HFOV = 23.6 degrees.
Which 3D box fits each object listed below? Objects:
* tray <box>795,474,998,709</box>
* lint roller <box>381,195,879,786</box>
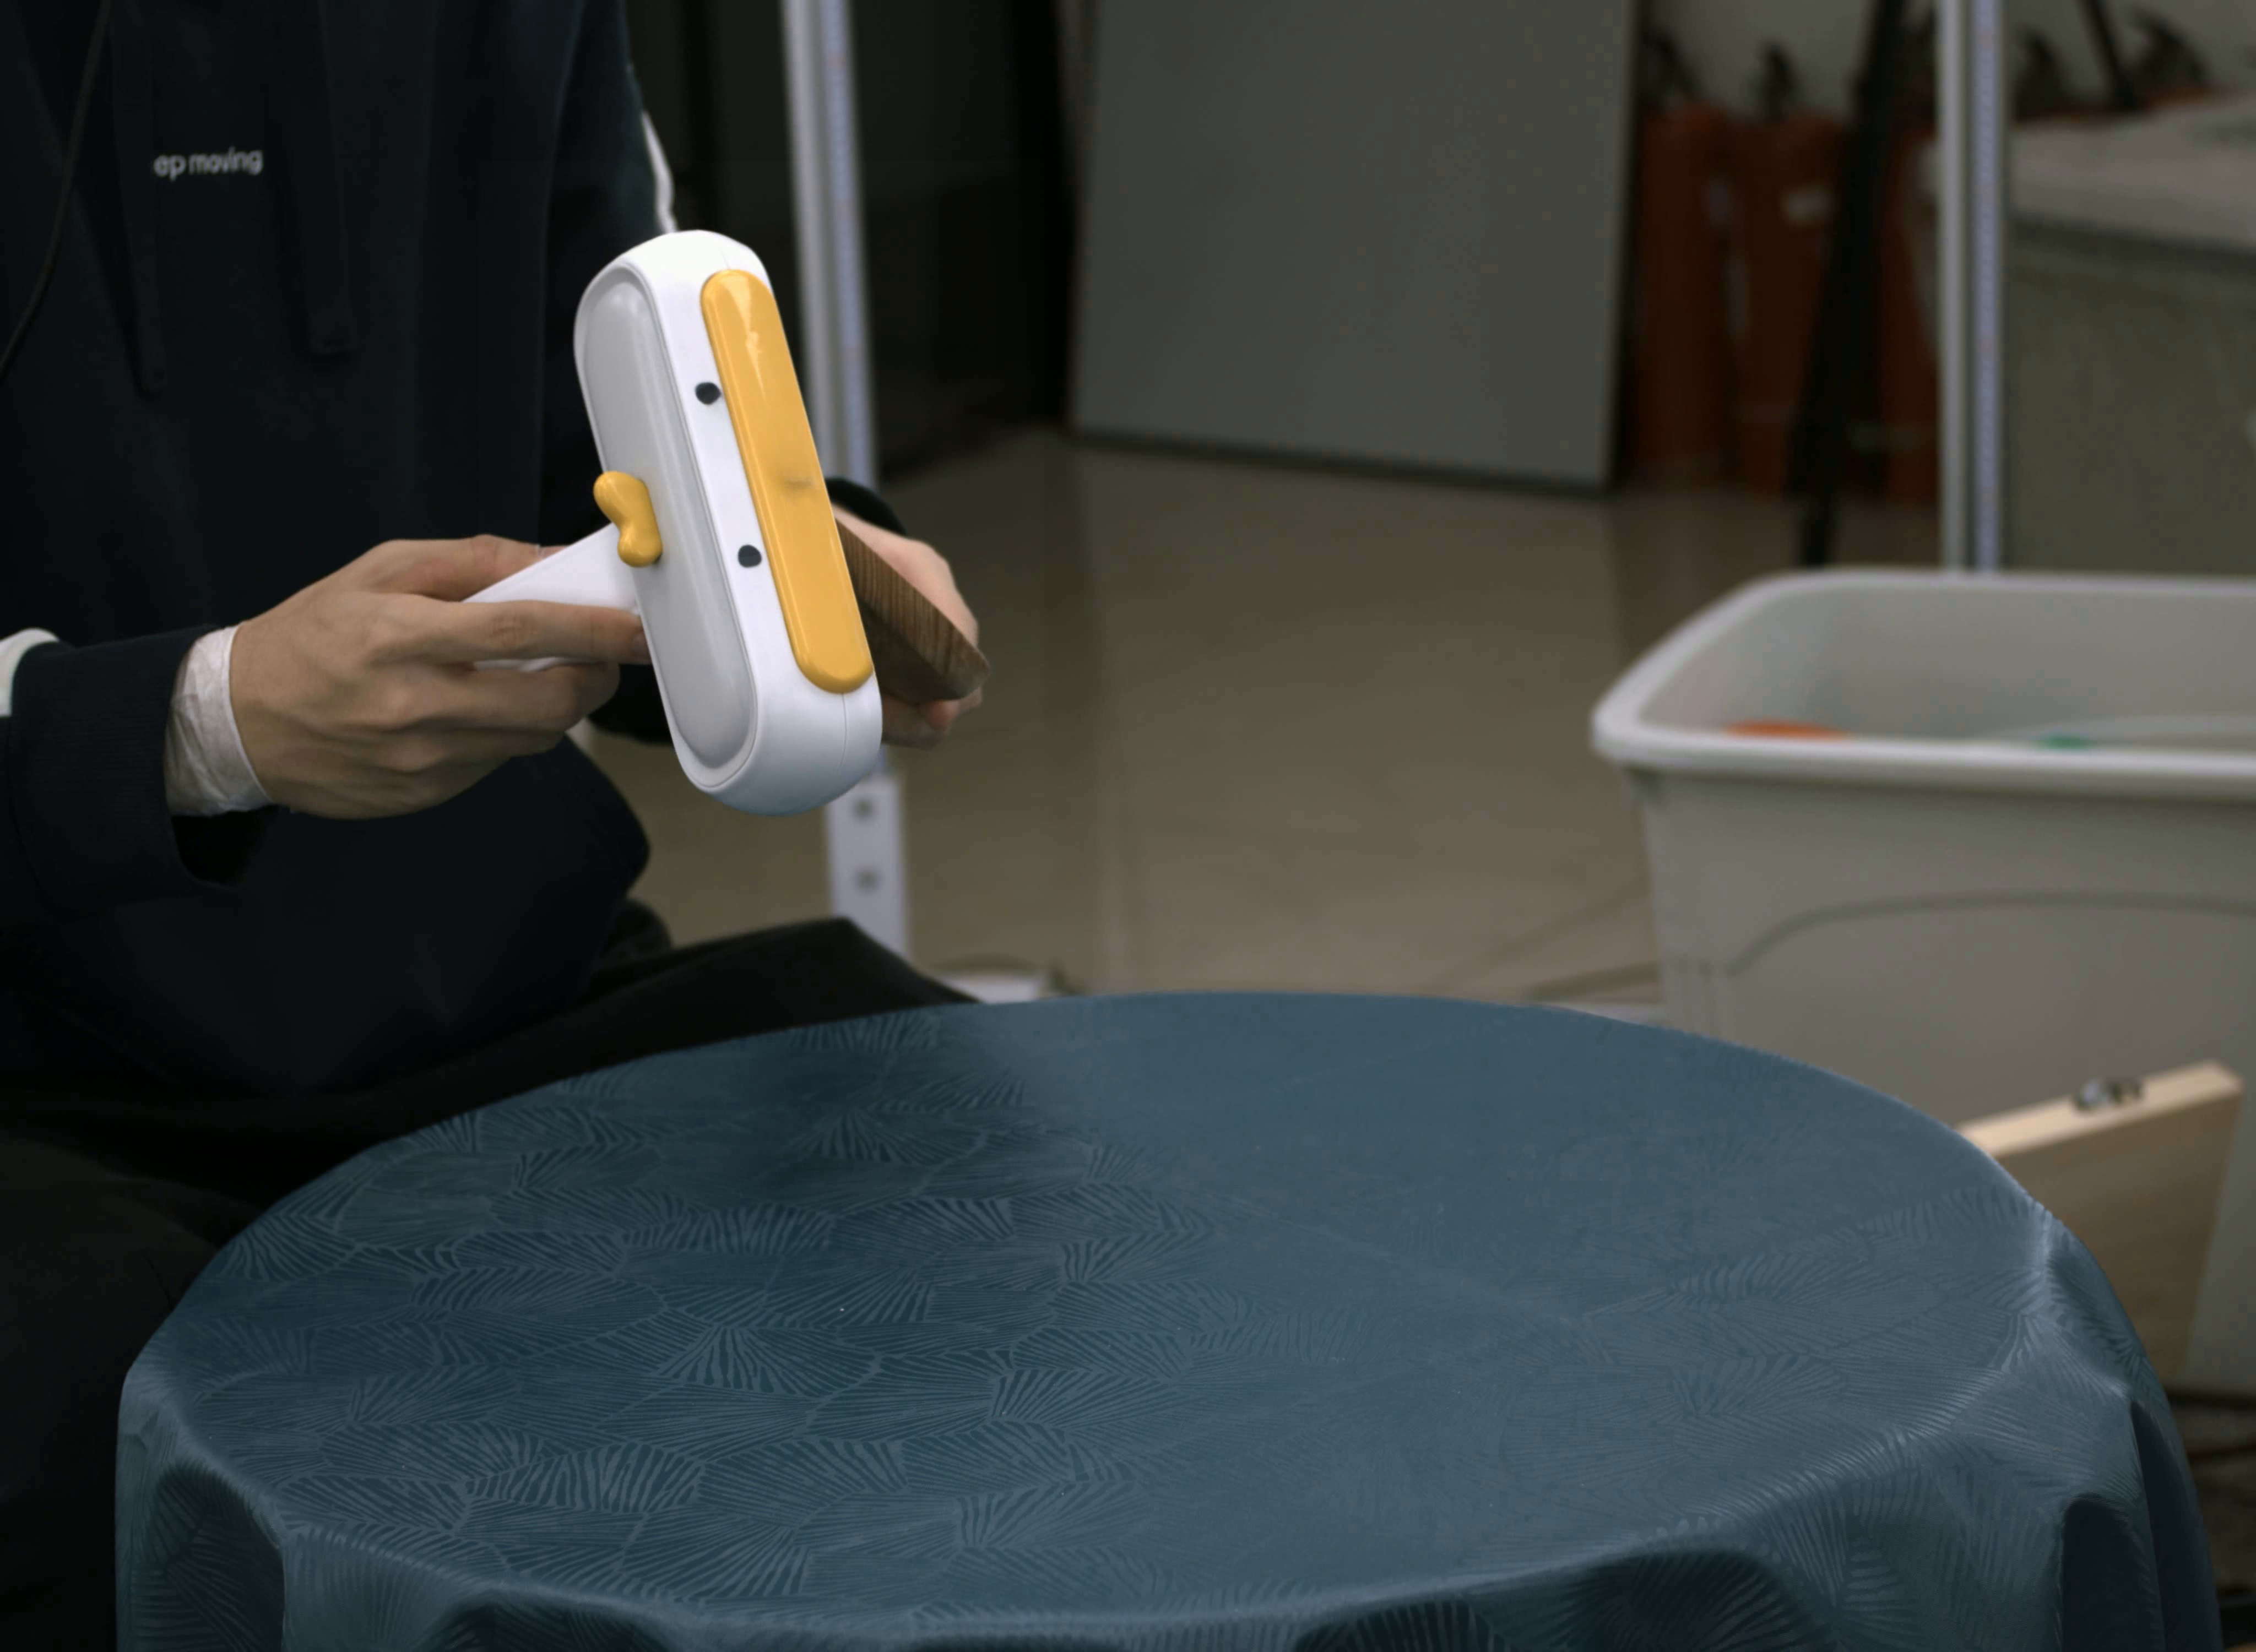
[{"bbox_3d":[-0.097,-0.077,1.822,0.020,0.101,0.232,-49,8,-7],"label":"tray"},{"bbox_3d":[-0.169,-0.079,1.743,0.072,0.195,0.194,-6,-23,-44],"label":"lint roller"}]
